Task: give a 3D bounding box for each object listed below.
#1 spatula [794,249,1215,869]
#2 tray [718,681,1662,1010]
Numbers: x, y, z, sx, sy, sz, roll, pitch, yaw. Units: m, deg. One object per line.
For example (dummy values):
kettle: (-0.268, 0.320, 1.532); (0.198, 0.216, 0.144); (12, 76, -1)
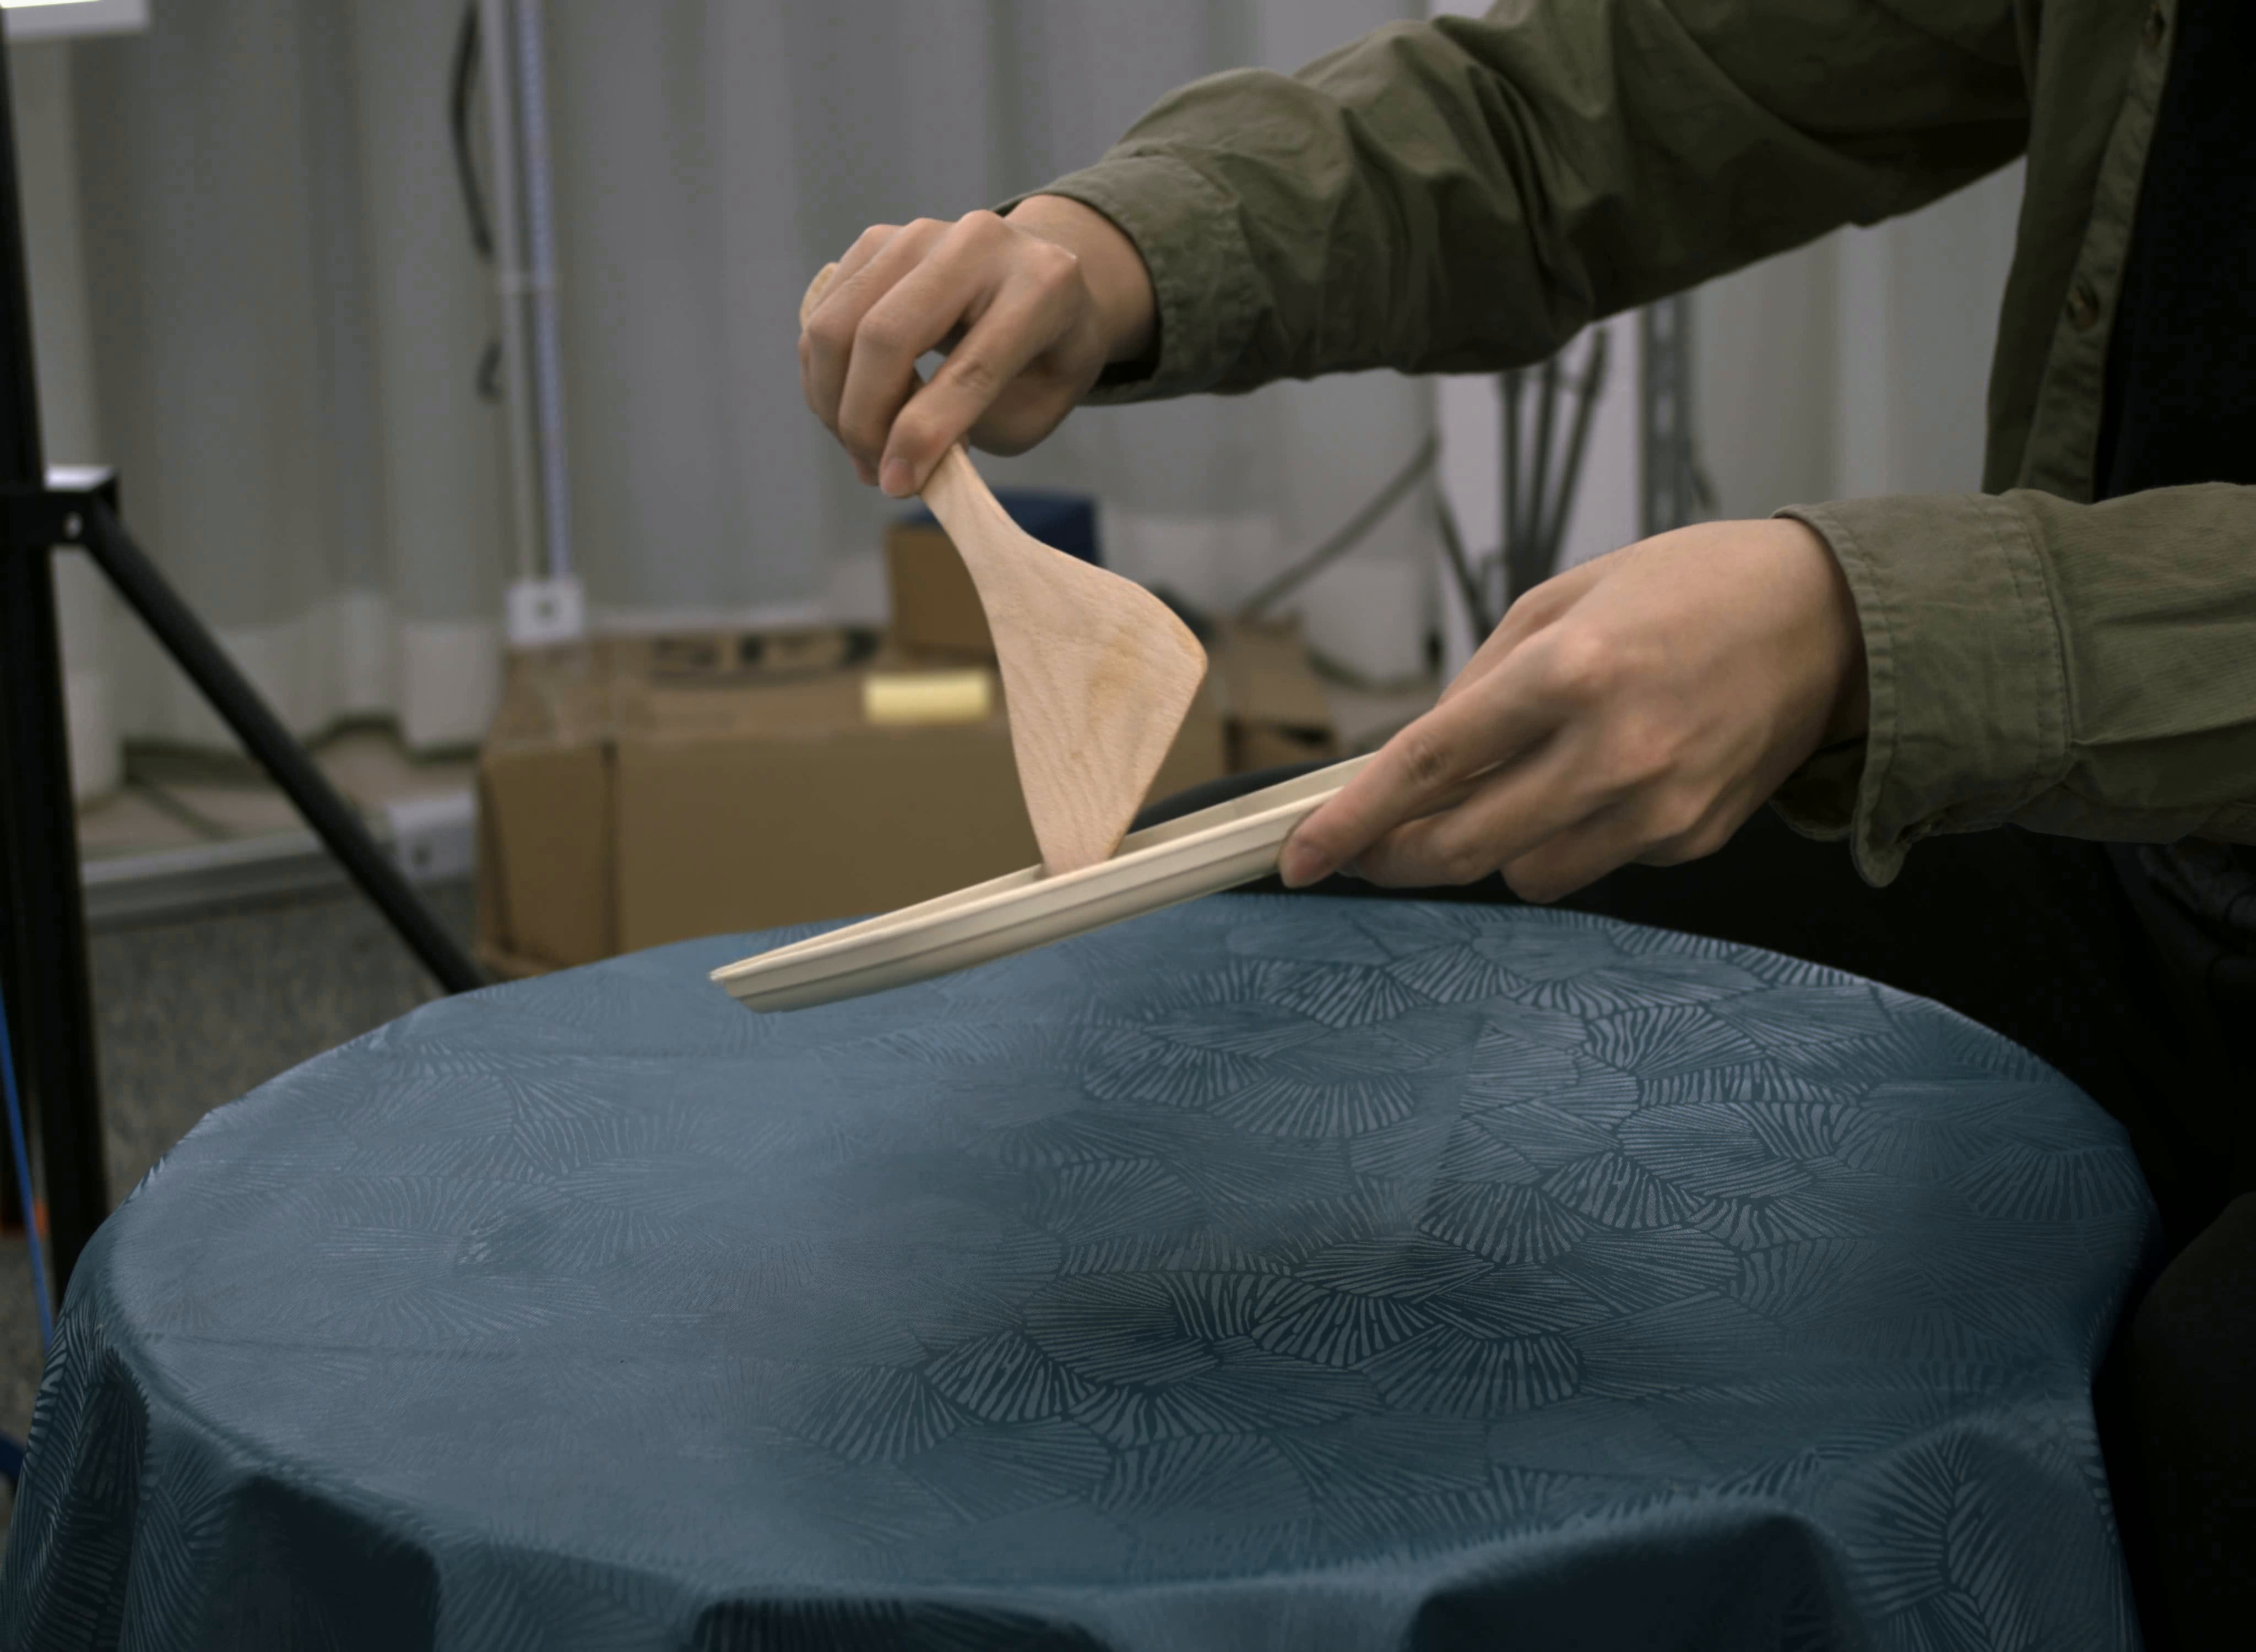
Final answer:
spatula: (-0.046, -0.096, 1.590); (0.016, 0.080, 0.334); (20, 21, -33)
tray: (0.018, 0.008, 1.440); (0.235, 0.017, 0.174); (-18, 2, -25)
